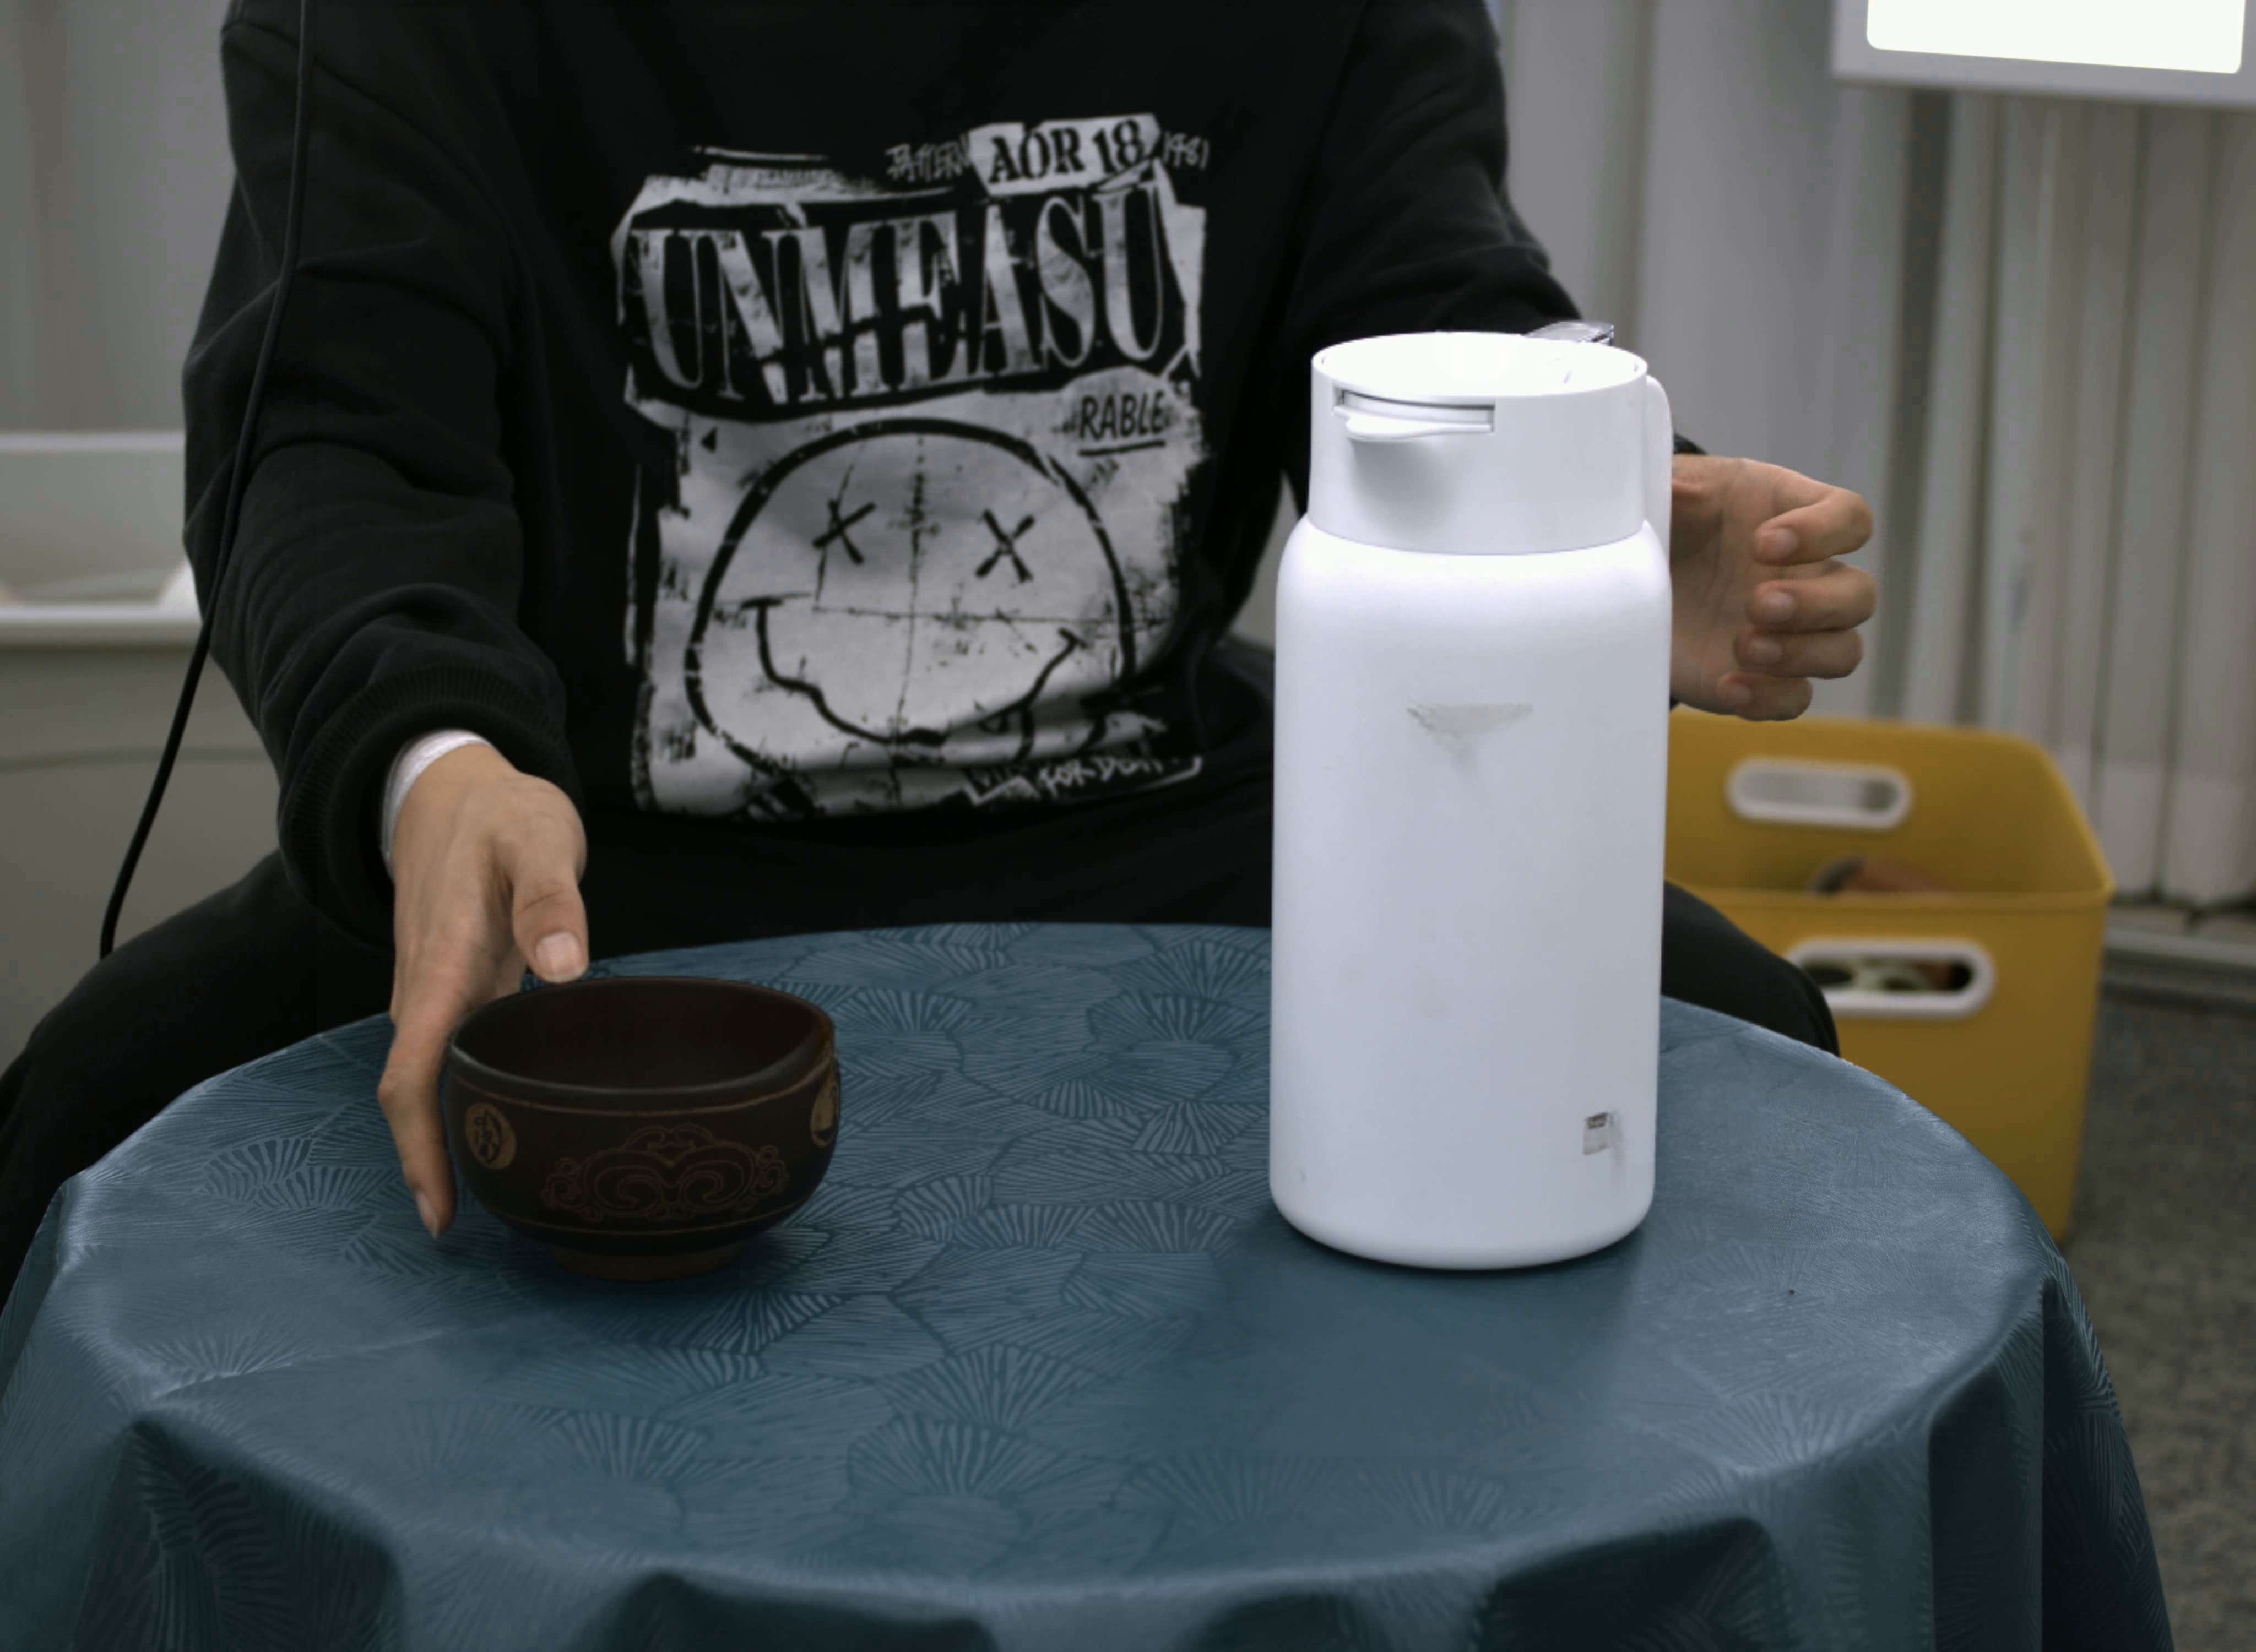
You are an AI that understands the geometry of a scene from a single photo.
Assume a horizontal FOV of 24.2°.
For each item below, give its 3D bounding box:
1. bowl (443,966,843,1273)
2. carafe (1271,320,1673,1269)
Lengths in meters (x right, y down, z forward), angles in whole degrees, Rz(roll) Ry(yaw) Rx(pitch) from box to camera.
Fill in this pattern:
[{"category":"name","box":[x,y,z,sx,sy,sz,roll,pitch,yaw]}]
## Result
[{"category":"bowl","box":[-0.143,0.090,1.557,0.117,0.070,0.117,1,15,0]},{"category":"carafe","box":[0.109,-0.014,1.581,0.122,0.271,0.173,7,18,29]}]
